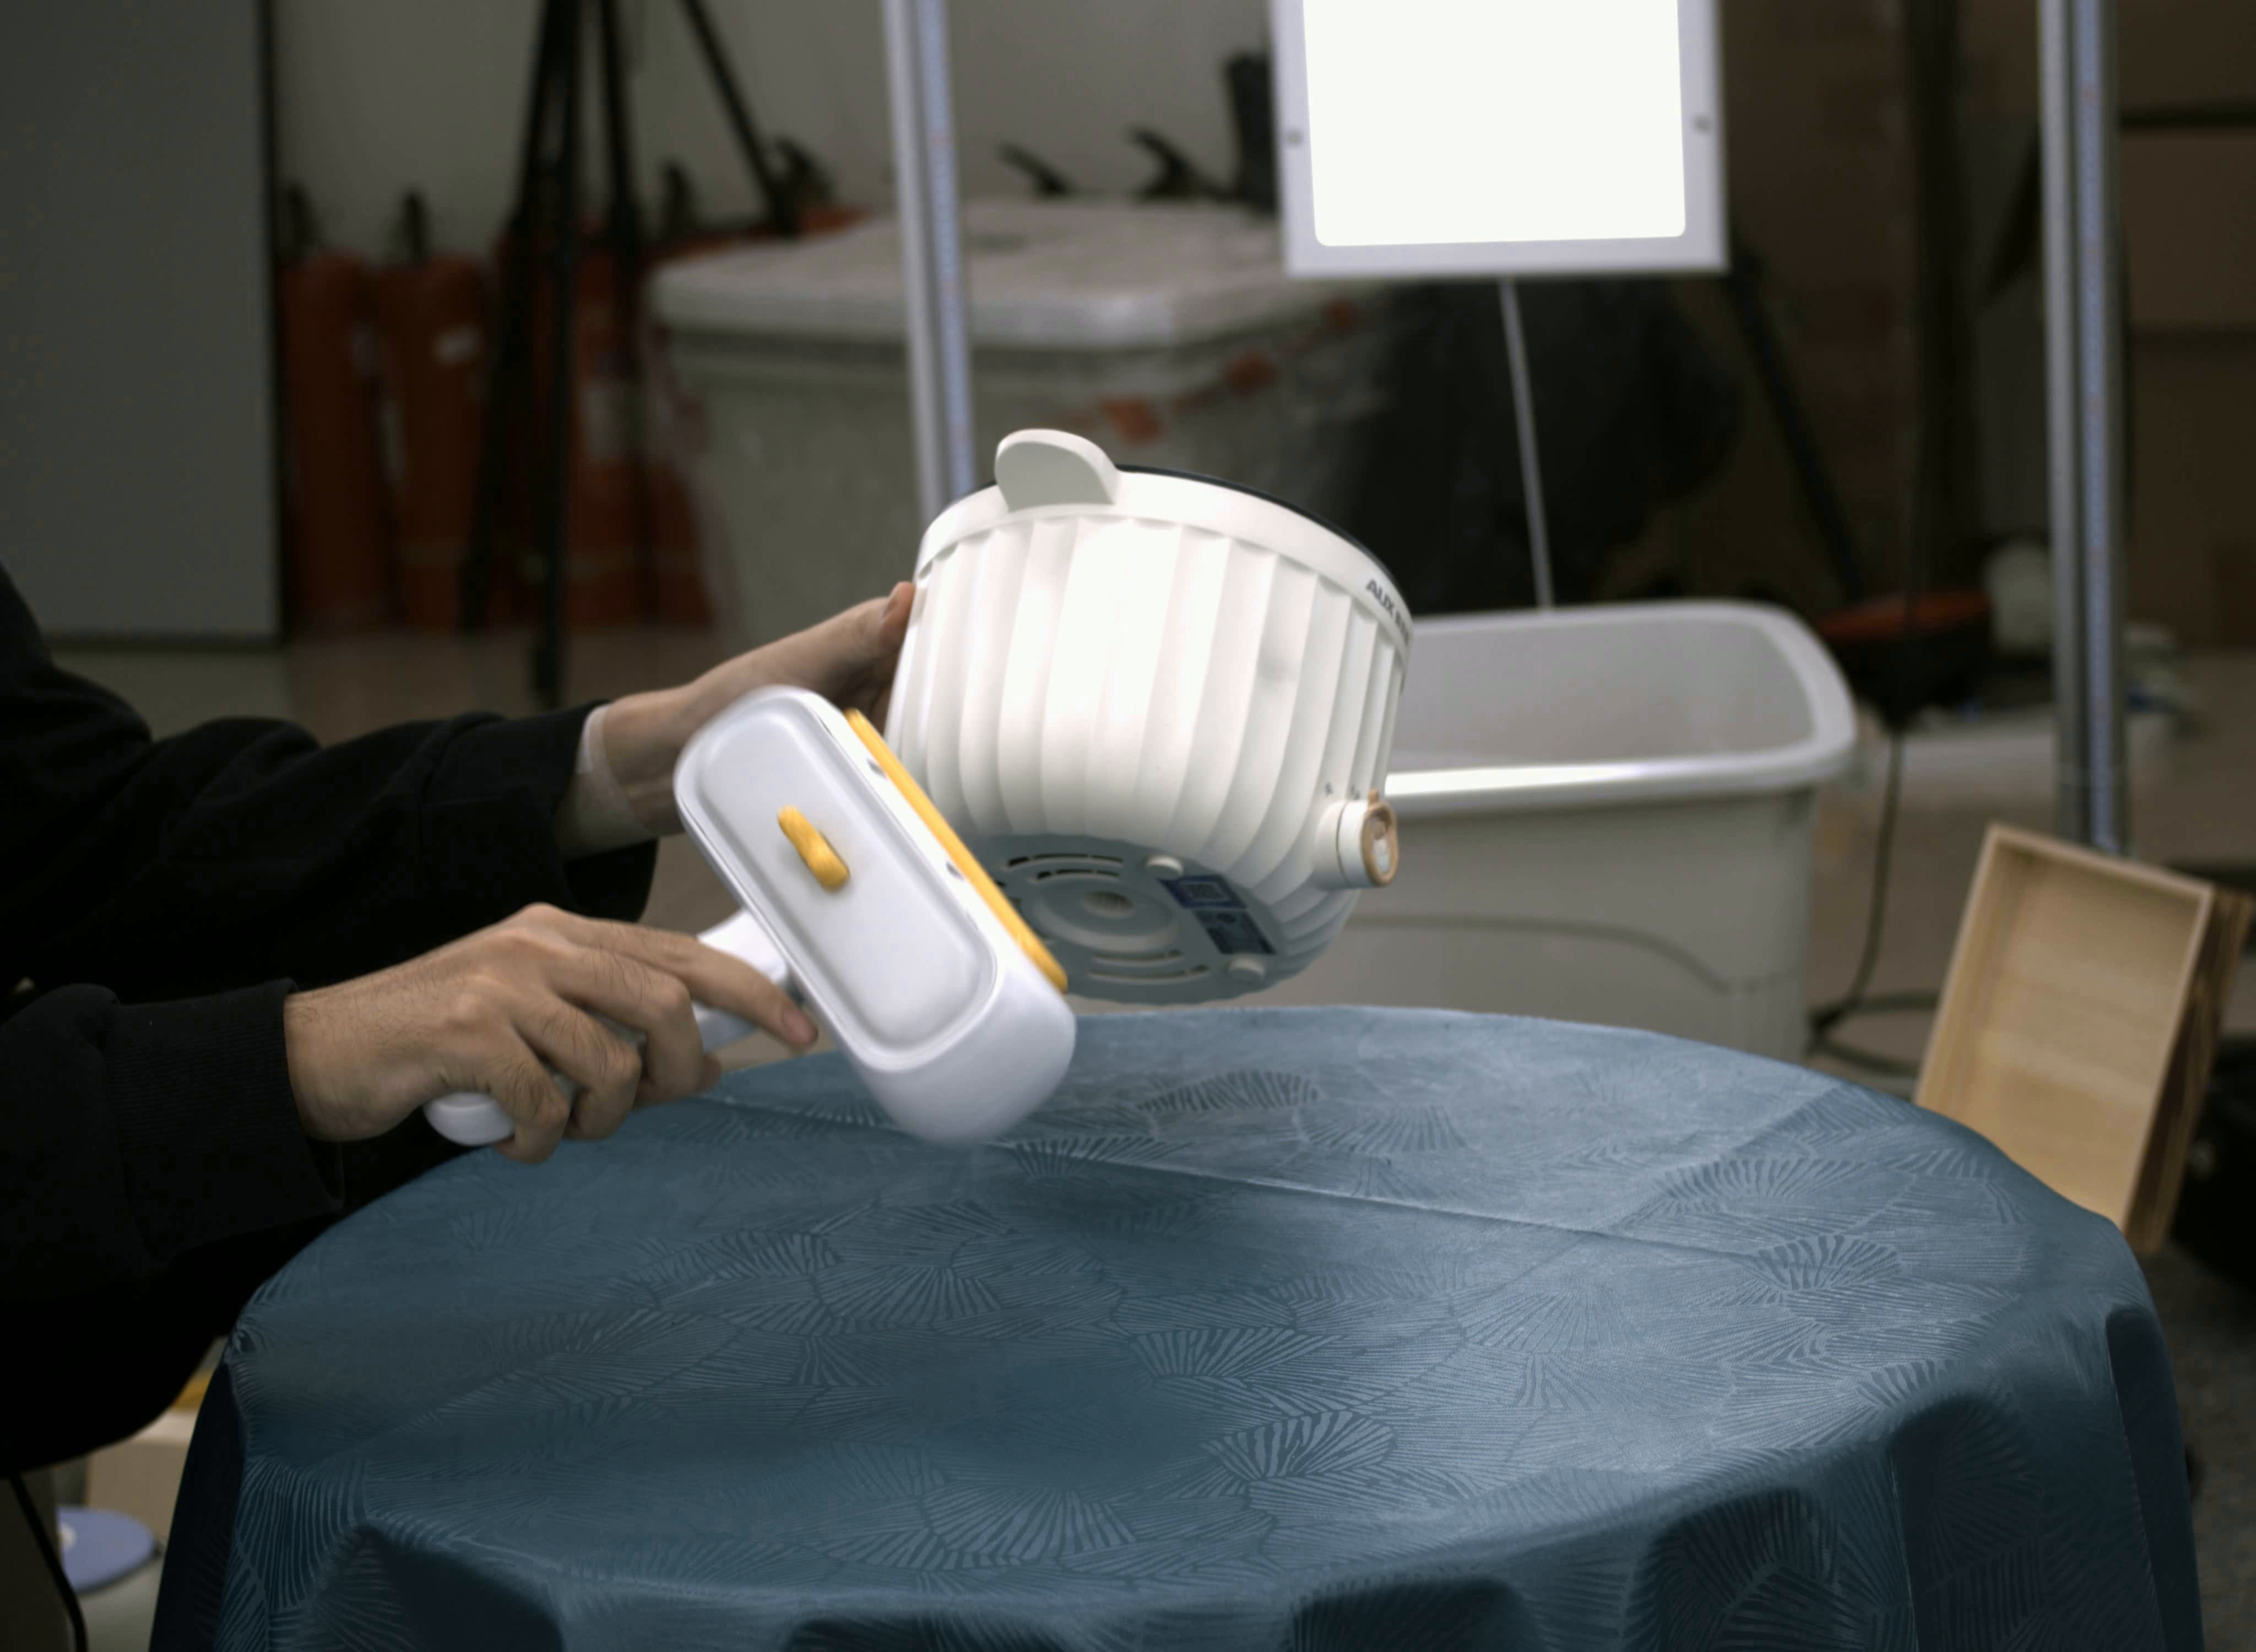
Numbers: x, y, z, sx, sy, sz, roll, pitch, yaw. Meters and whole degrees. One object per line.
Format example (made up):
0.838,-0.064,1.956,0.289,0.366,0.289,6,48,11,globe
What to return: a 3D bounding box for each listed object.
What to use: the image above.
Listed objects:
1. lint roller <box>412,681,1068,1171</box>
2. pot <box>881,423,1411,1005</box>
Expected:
-0.135,0.053,1.741,0.191,0.074,0.195,-35,50,-7,lint roller
0.009,-0.025,1.942,0.193,0.142,0.237,-6,-30,23,pot
